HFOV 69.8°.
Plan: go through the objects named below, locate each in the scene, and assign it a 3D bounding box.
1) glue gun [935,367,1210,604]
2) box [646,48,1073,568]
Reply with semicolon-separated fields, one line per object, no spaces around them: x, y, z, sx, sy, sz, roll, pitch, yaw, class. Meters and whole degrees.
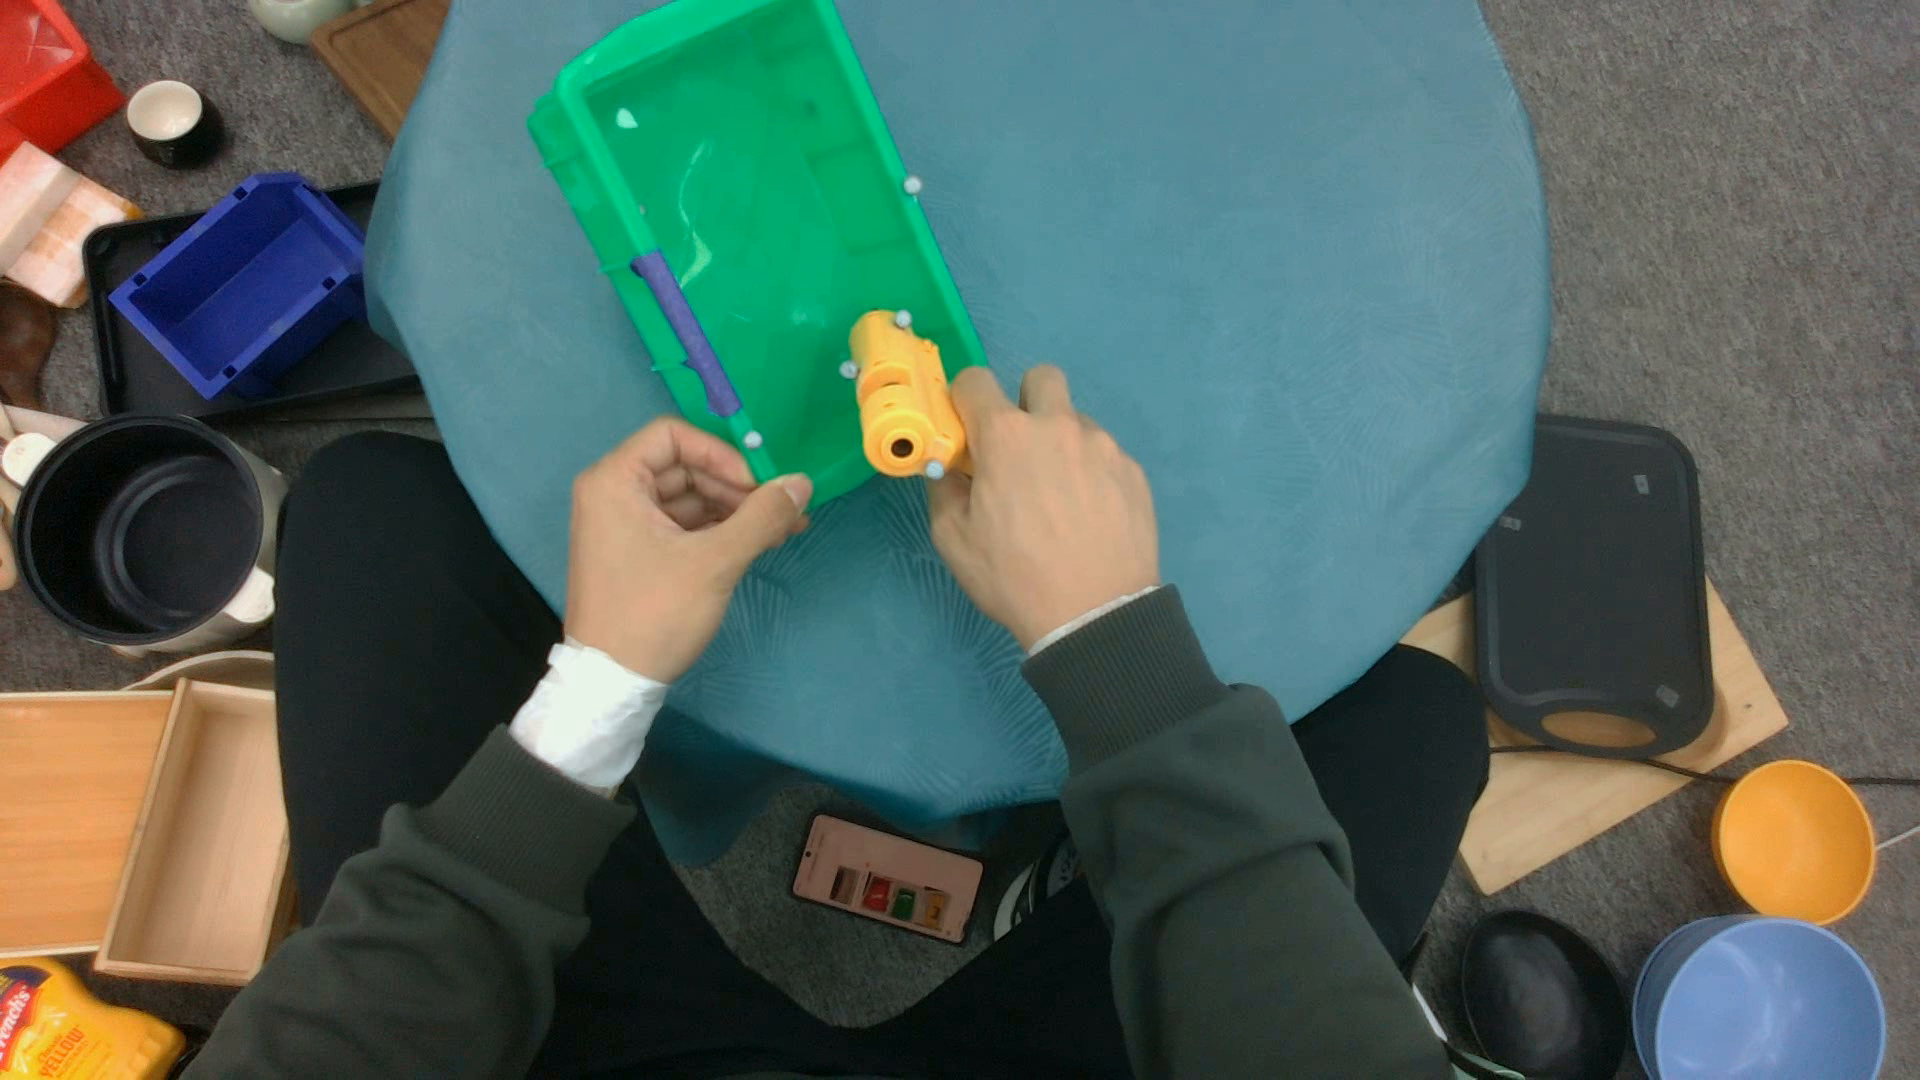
0.044;-0.035;0.651;0.133;0.152;0.031;22;116;-20;glue gun
-0.045;-0.105;0.637;0.139;0.065;0.210;-35;113;-28;box
